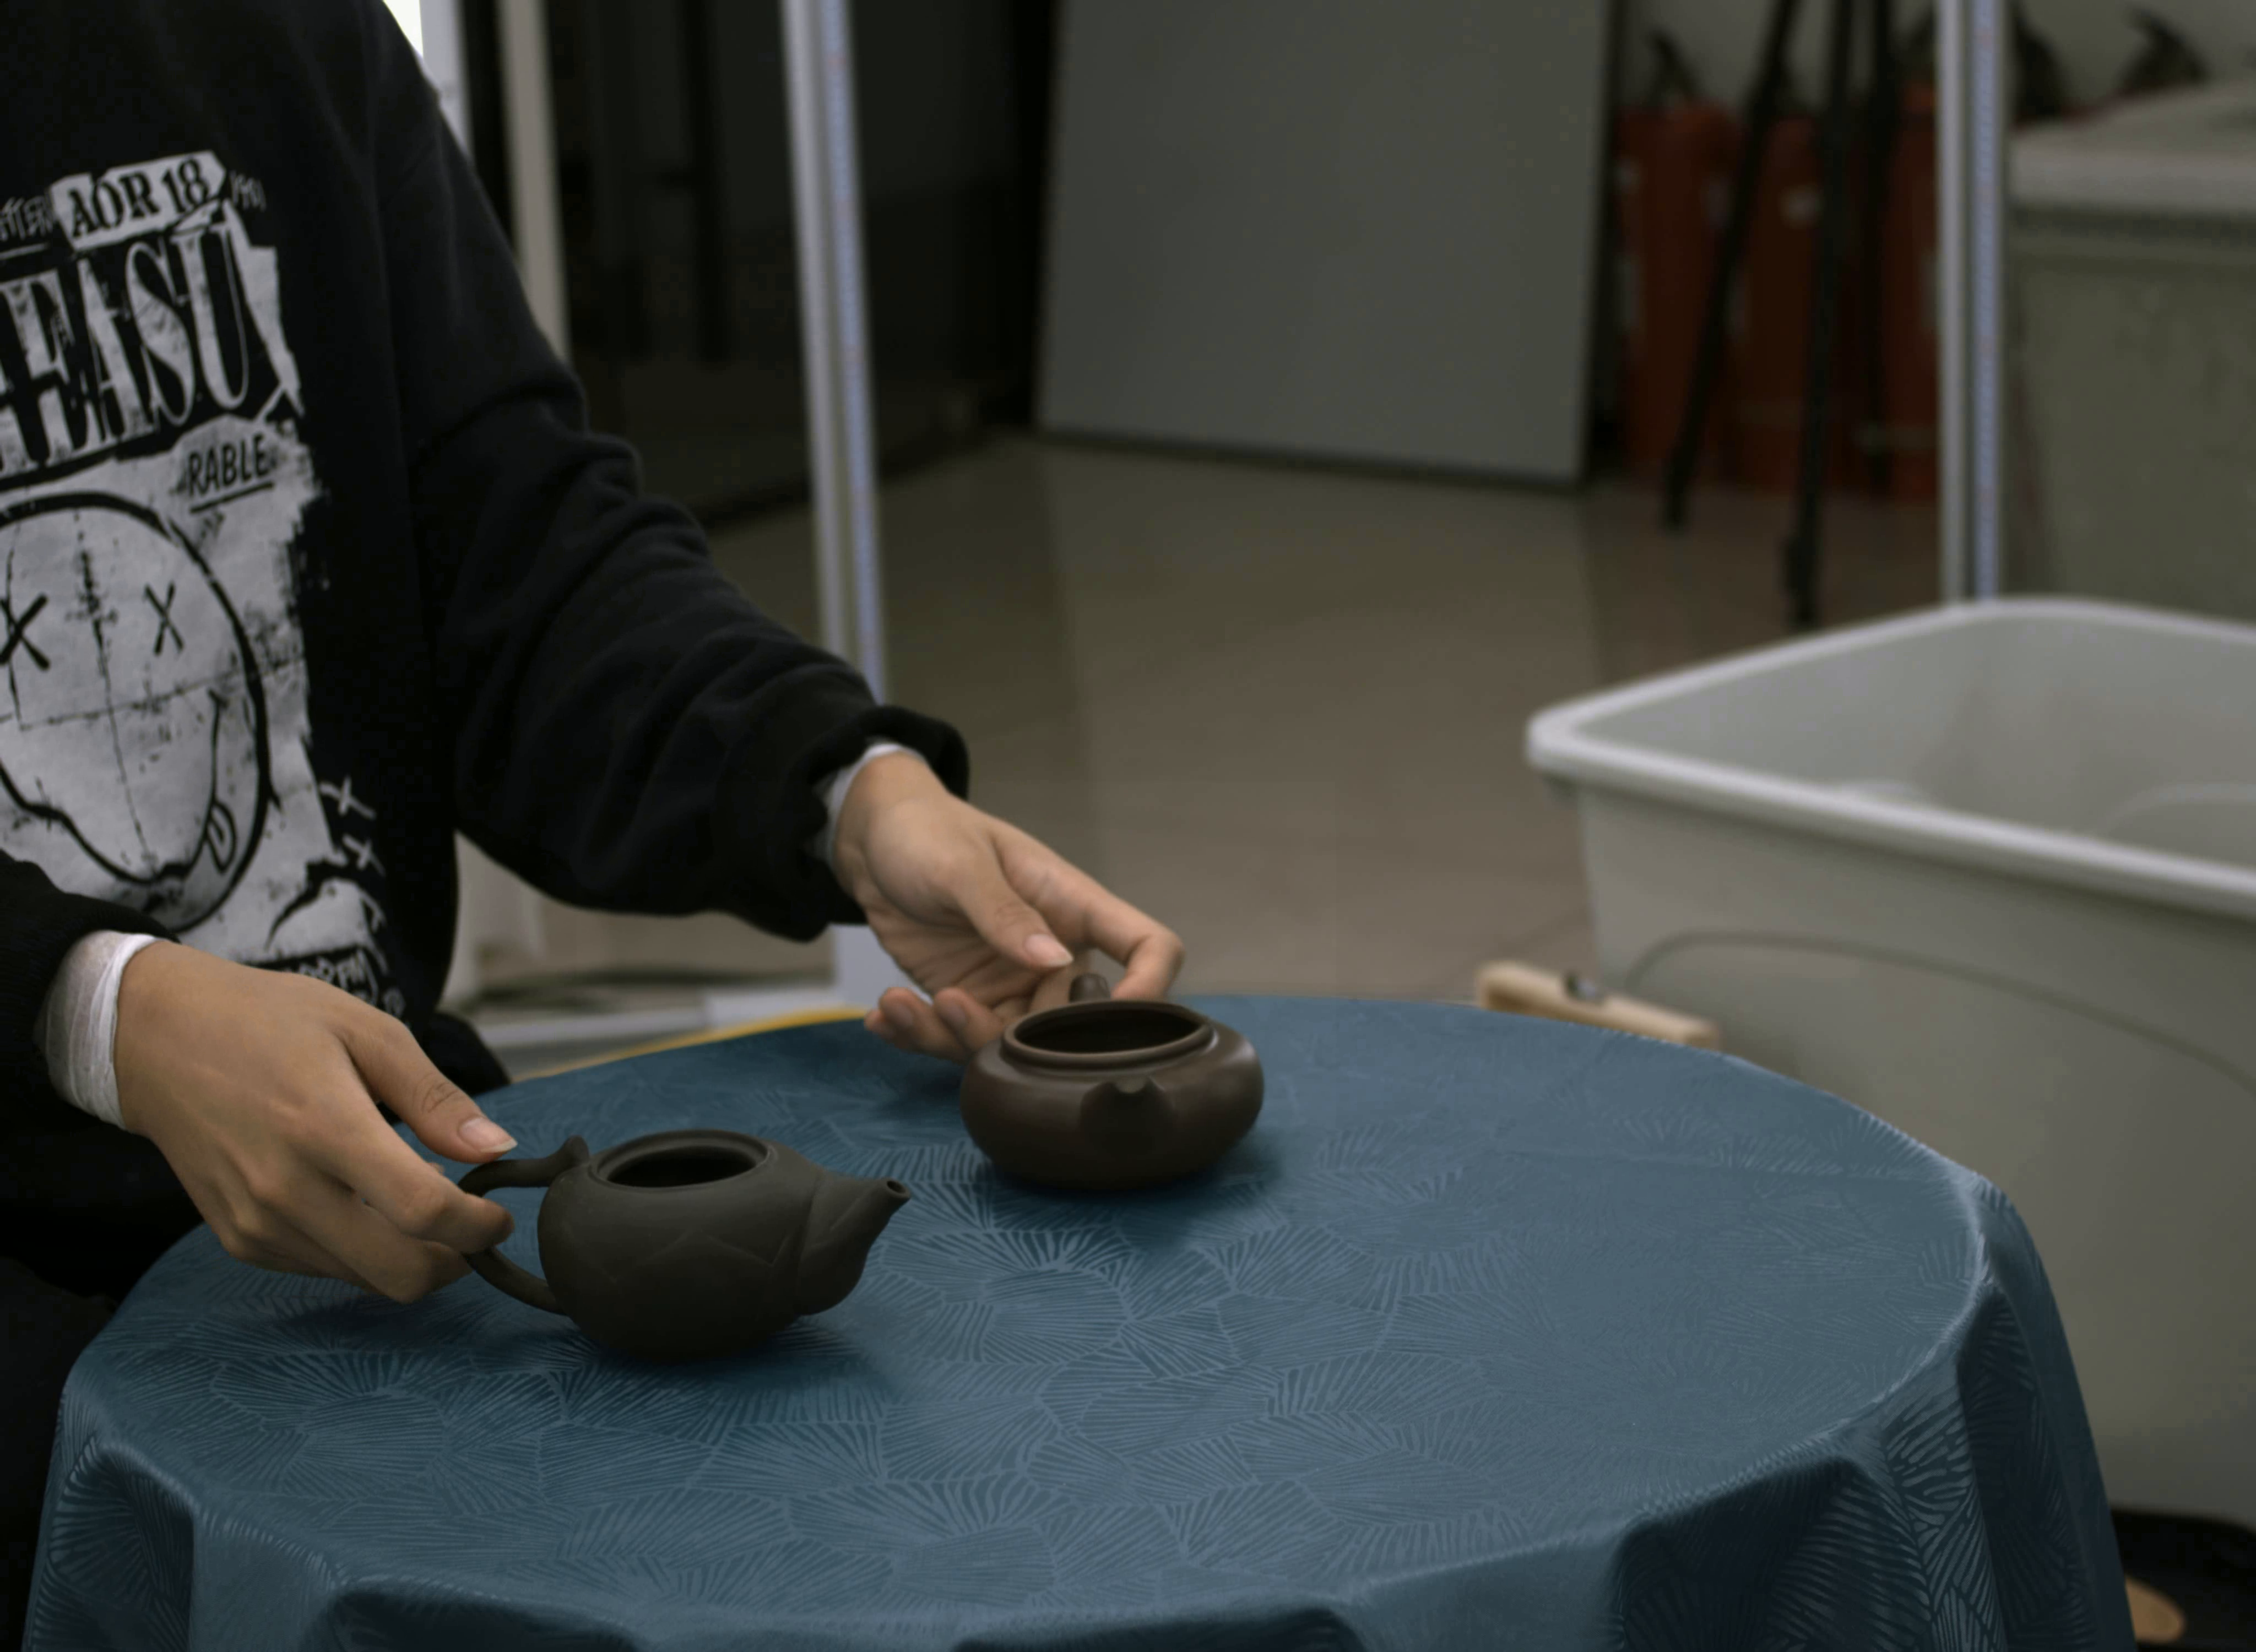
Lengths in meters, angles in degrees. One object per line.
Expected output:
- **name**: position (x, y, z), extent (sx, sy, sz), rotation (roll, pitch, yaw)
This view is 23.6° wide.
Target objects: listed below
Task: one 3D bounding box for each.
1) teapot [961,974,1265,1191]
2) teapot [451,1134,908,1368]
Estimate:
- **teapot**: position (-0.006, 0.087, 1.801), extent (0.101, 0.054, 0.154), rotation (-5, 14, -10)
- **teapot**: position (-0.138, 0.128, 1.657), extent (0.154, 0.065, 0.091), rotation (1, 13, 20)
